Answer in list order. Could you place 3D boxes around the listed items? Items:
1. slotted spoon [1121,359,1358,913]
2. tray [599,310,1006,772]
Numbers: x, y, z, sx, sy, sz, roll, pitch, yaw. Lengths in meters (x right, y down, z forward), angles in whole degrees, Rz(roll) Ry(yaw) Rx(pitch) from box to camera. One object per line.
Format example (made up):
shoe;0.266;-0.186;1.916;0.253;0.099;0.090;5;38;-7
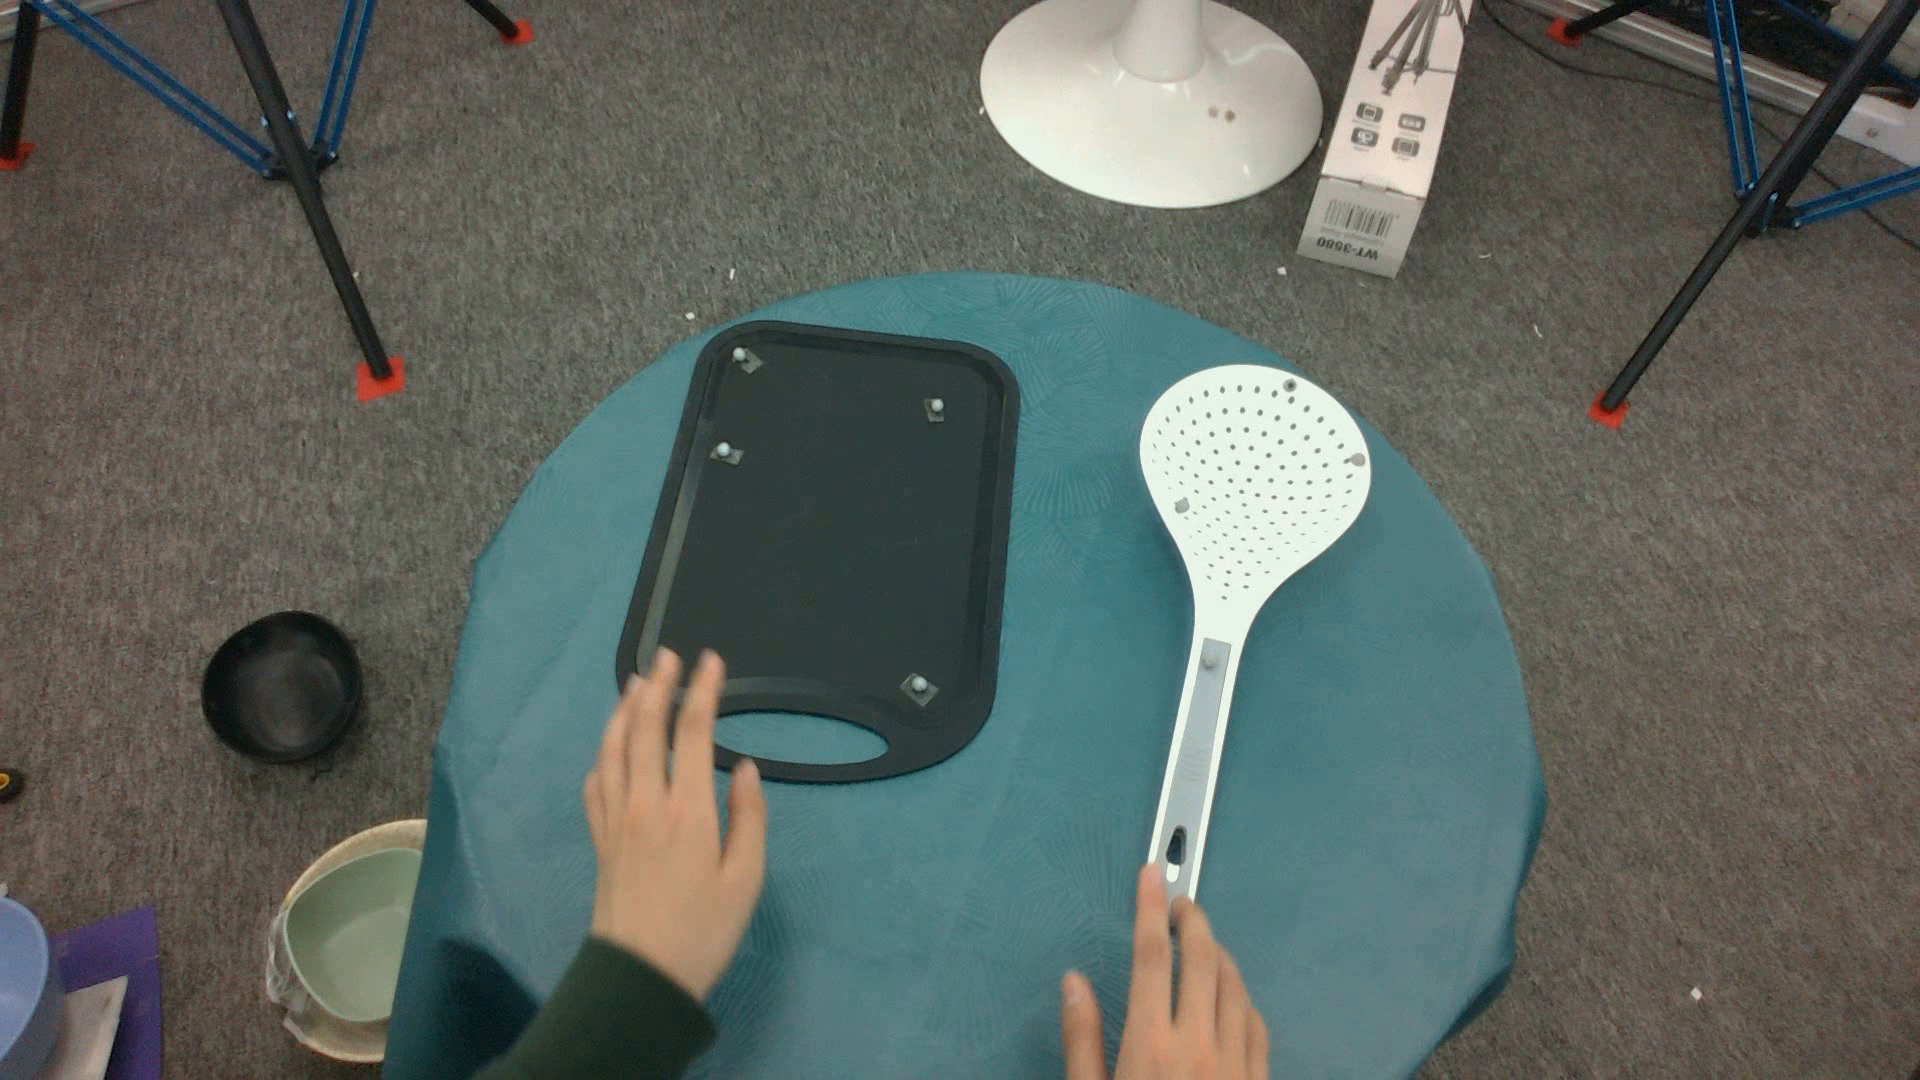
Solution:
slotted spoon;0.140;0.039;0.773;0.136;0.045;0.351;14;55;7
tray;-0.084;-0.013;0.812;0.211;0.010;0.327;7;55;-1
